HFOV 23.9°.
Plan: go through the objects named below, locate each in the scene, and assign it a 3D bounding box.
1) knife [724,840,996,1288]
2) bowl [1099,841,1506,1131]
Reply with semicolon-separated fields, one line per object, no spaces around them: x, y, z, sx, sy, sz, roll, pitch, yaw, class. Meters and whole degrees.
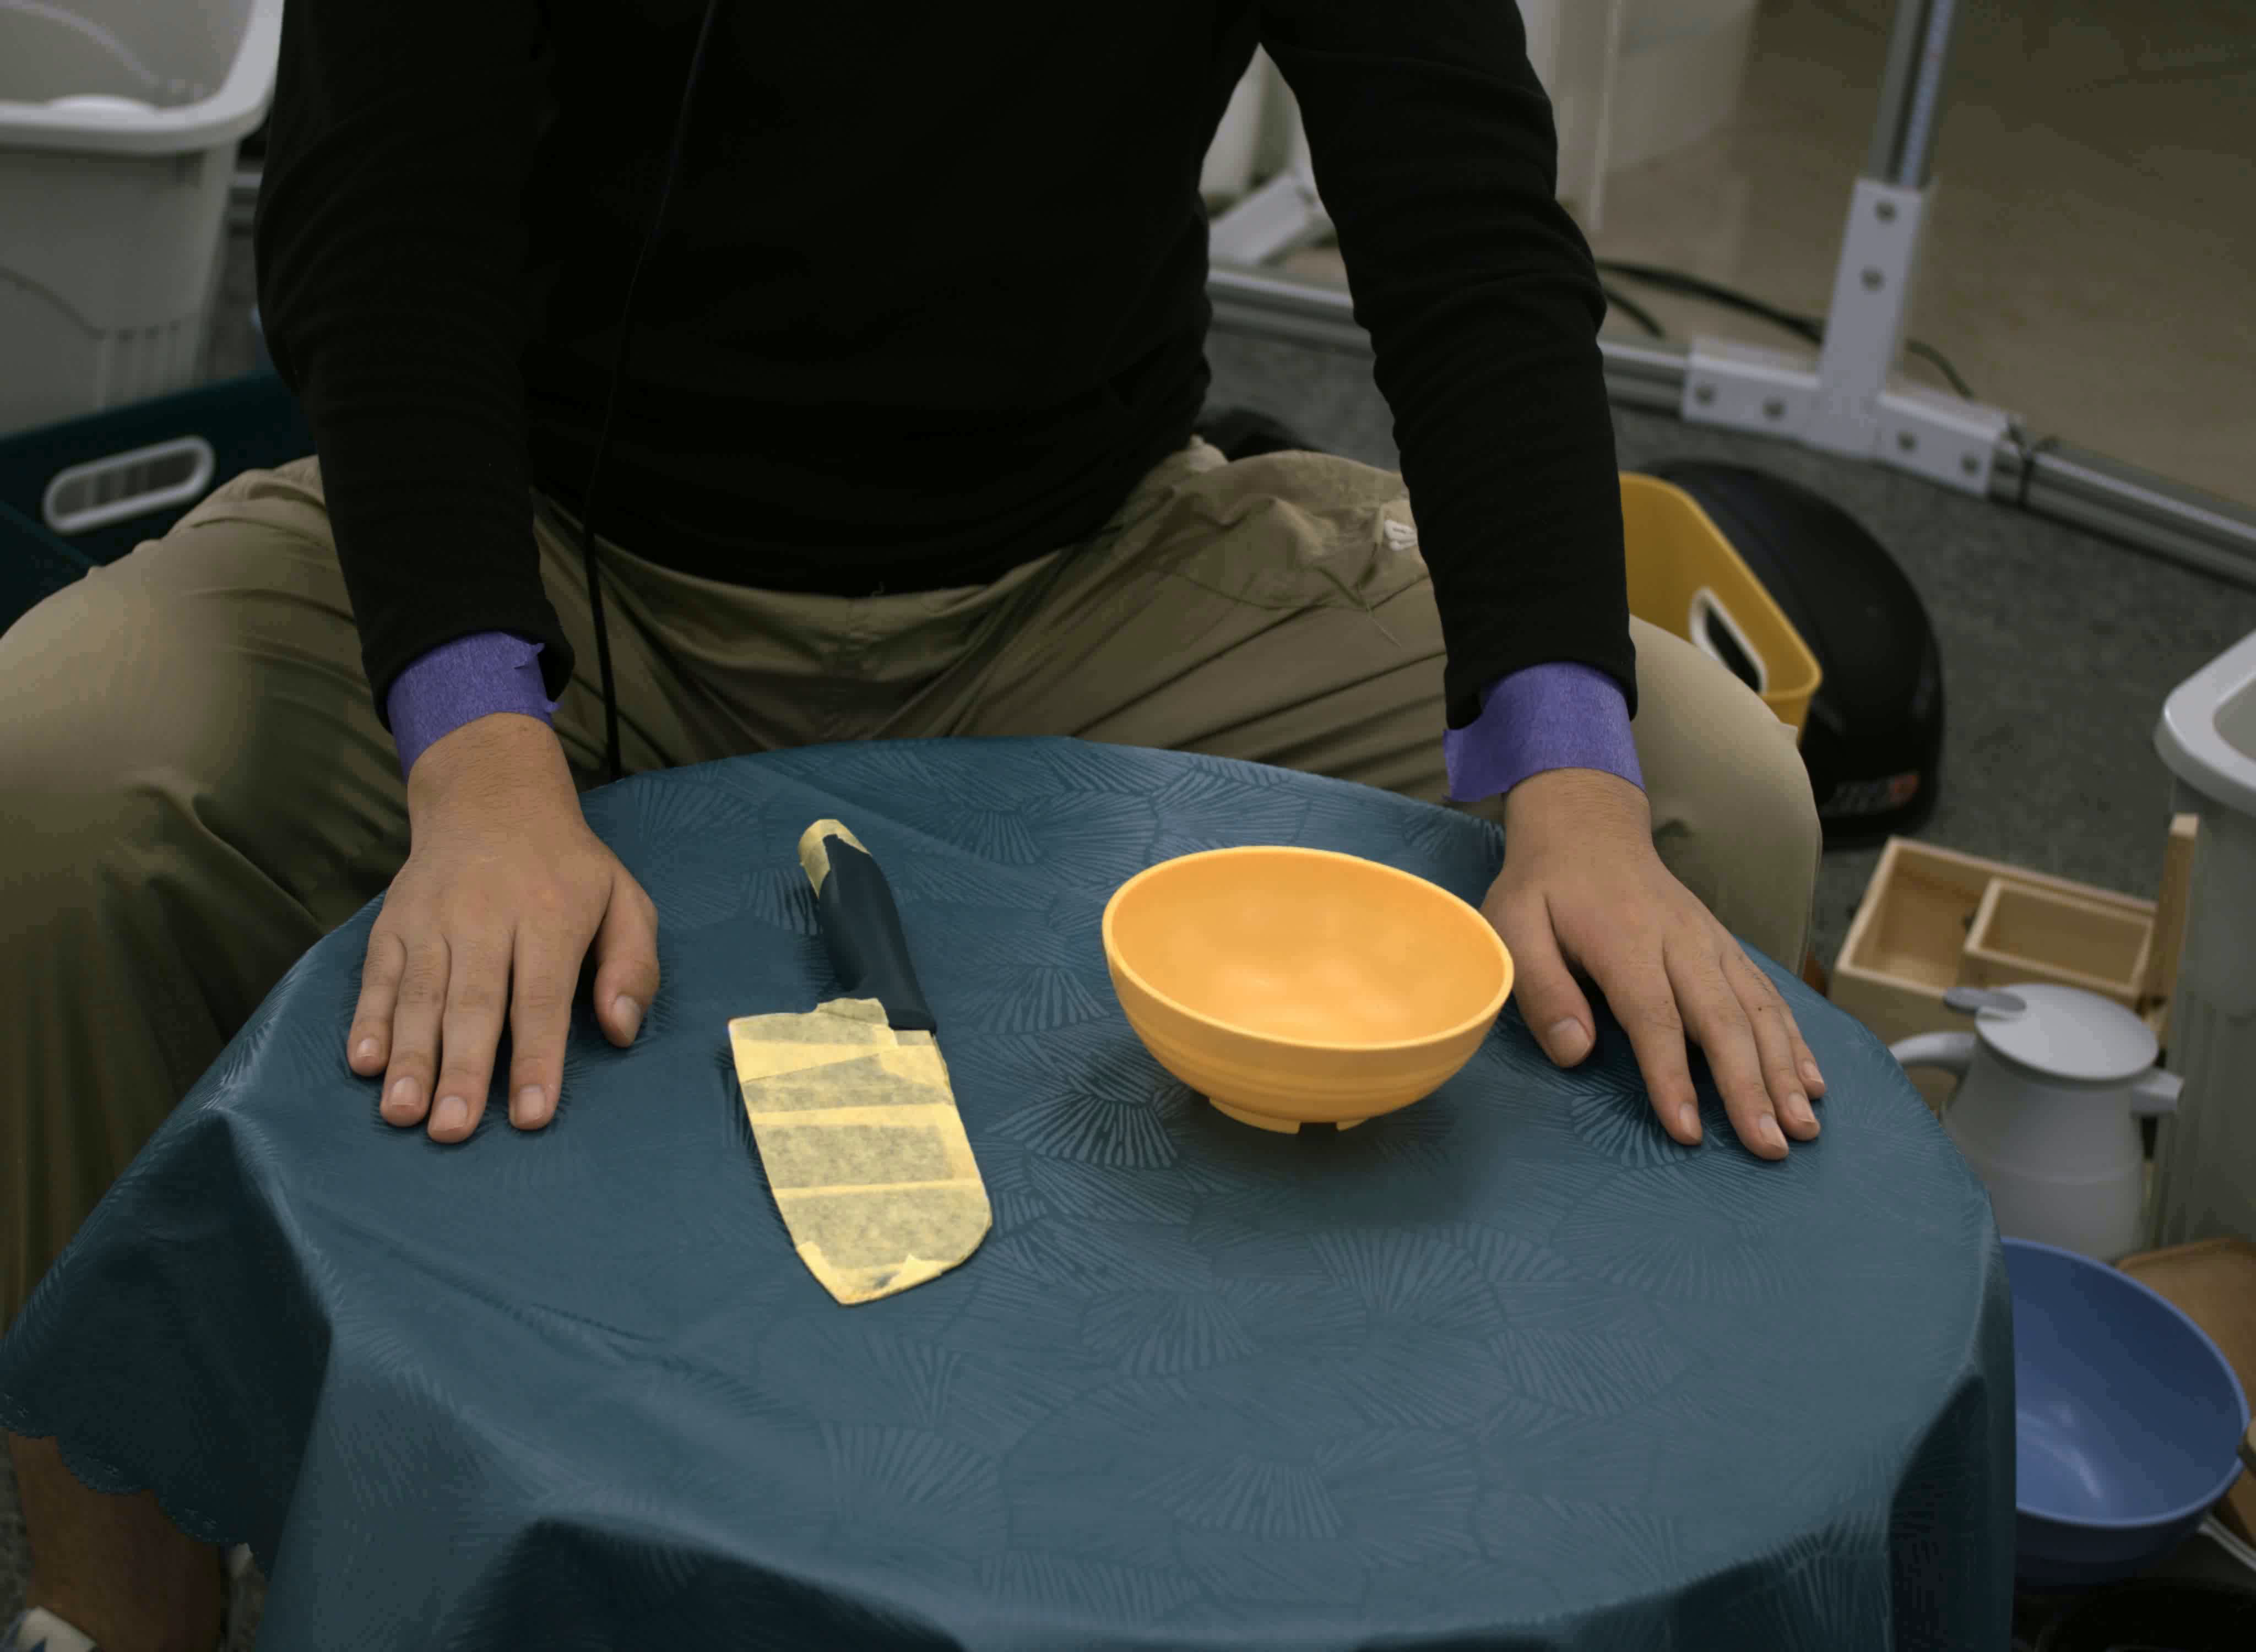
-0.099;0.081;1.852;0.080;0.027;0.292;2;28;-12;knife
0.057;0.065;1.868;0.145;0.060;0.146;7;26;-4;bowl
